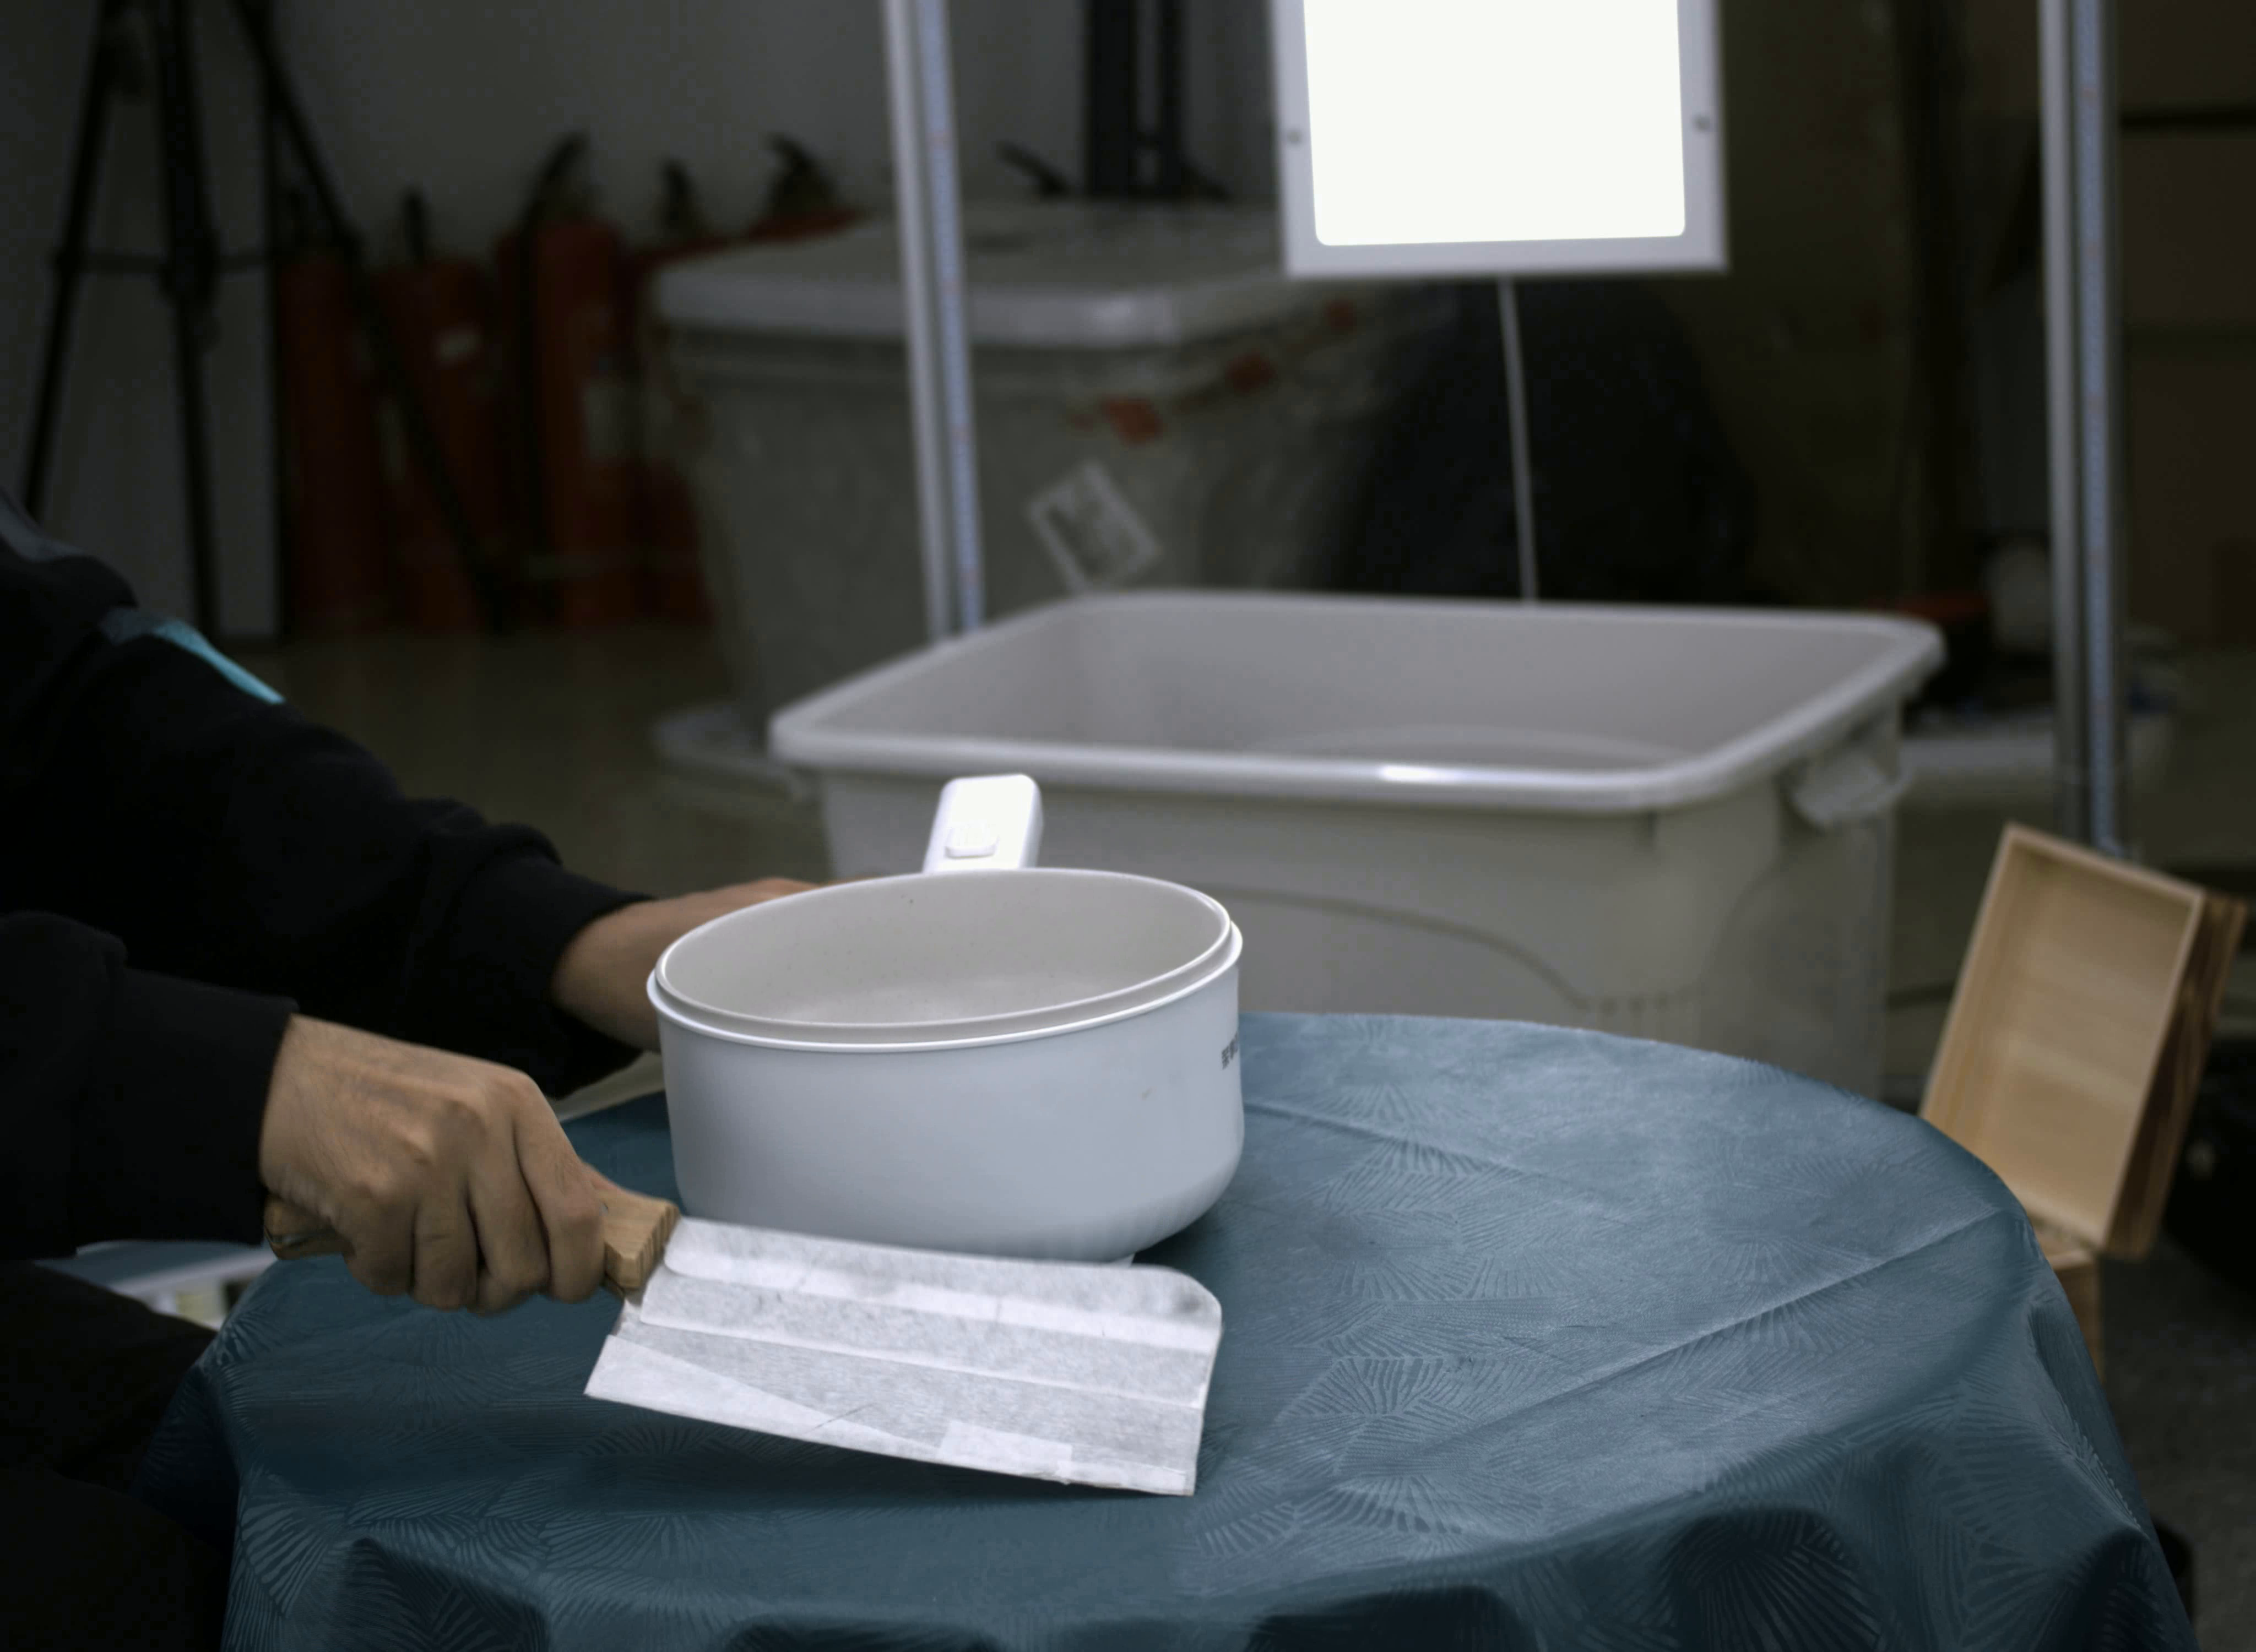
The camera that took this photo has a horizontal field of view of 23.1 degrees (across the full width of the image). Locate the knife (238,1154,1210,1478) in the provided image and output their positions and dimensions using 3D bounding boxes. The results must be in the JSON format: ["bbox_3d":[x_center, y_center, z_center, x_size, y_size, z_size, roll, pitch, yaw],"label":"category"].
[{"bbox_3d":[-0.123,0.142,1.680,0.318,0.022,0.112,10,42,14],"label":"knife"}]

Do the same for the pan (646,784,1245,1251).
[{"bbox_3d":[-0.056,0.072,1.938,0.201,0.102,0.353,-6,13,4],"label":"pan"}]
